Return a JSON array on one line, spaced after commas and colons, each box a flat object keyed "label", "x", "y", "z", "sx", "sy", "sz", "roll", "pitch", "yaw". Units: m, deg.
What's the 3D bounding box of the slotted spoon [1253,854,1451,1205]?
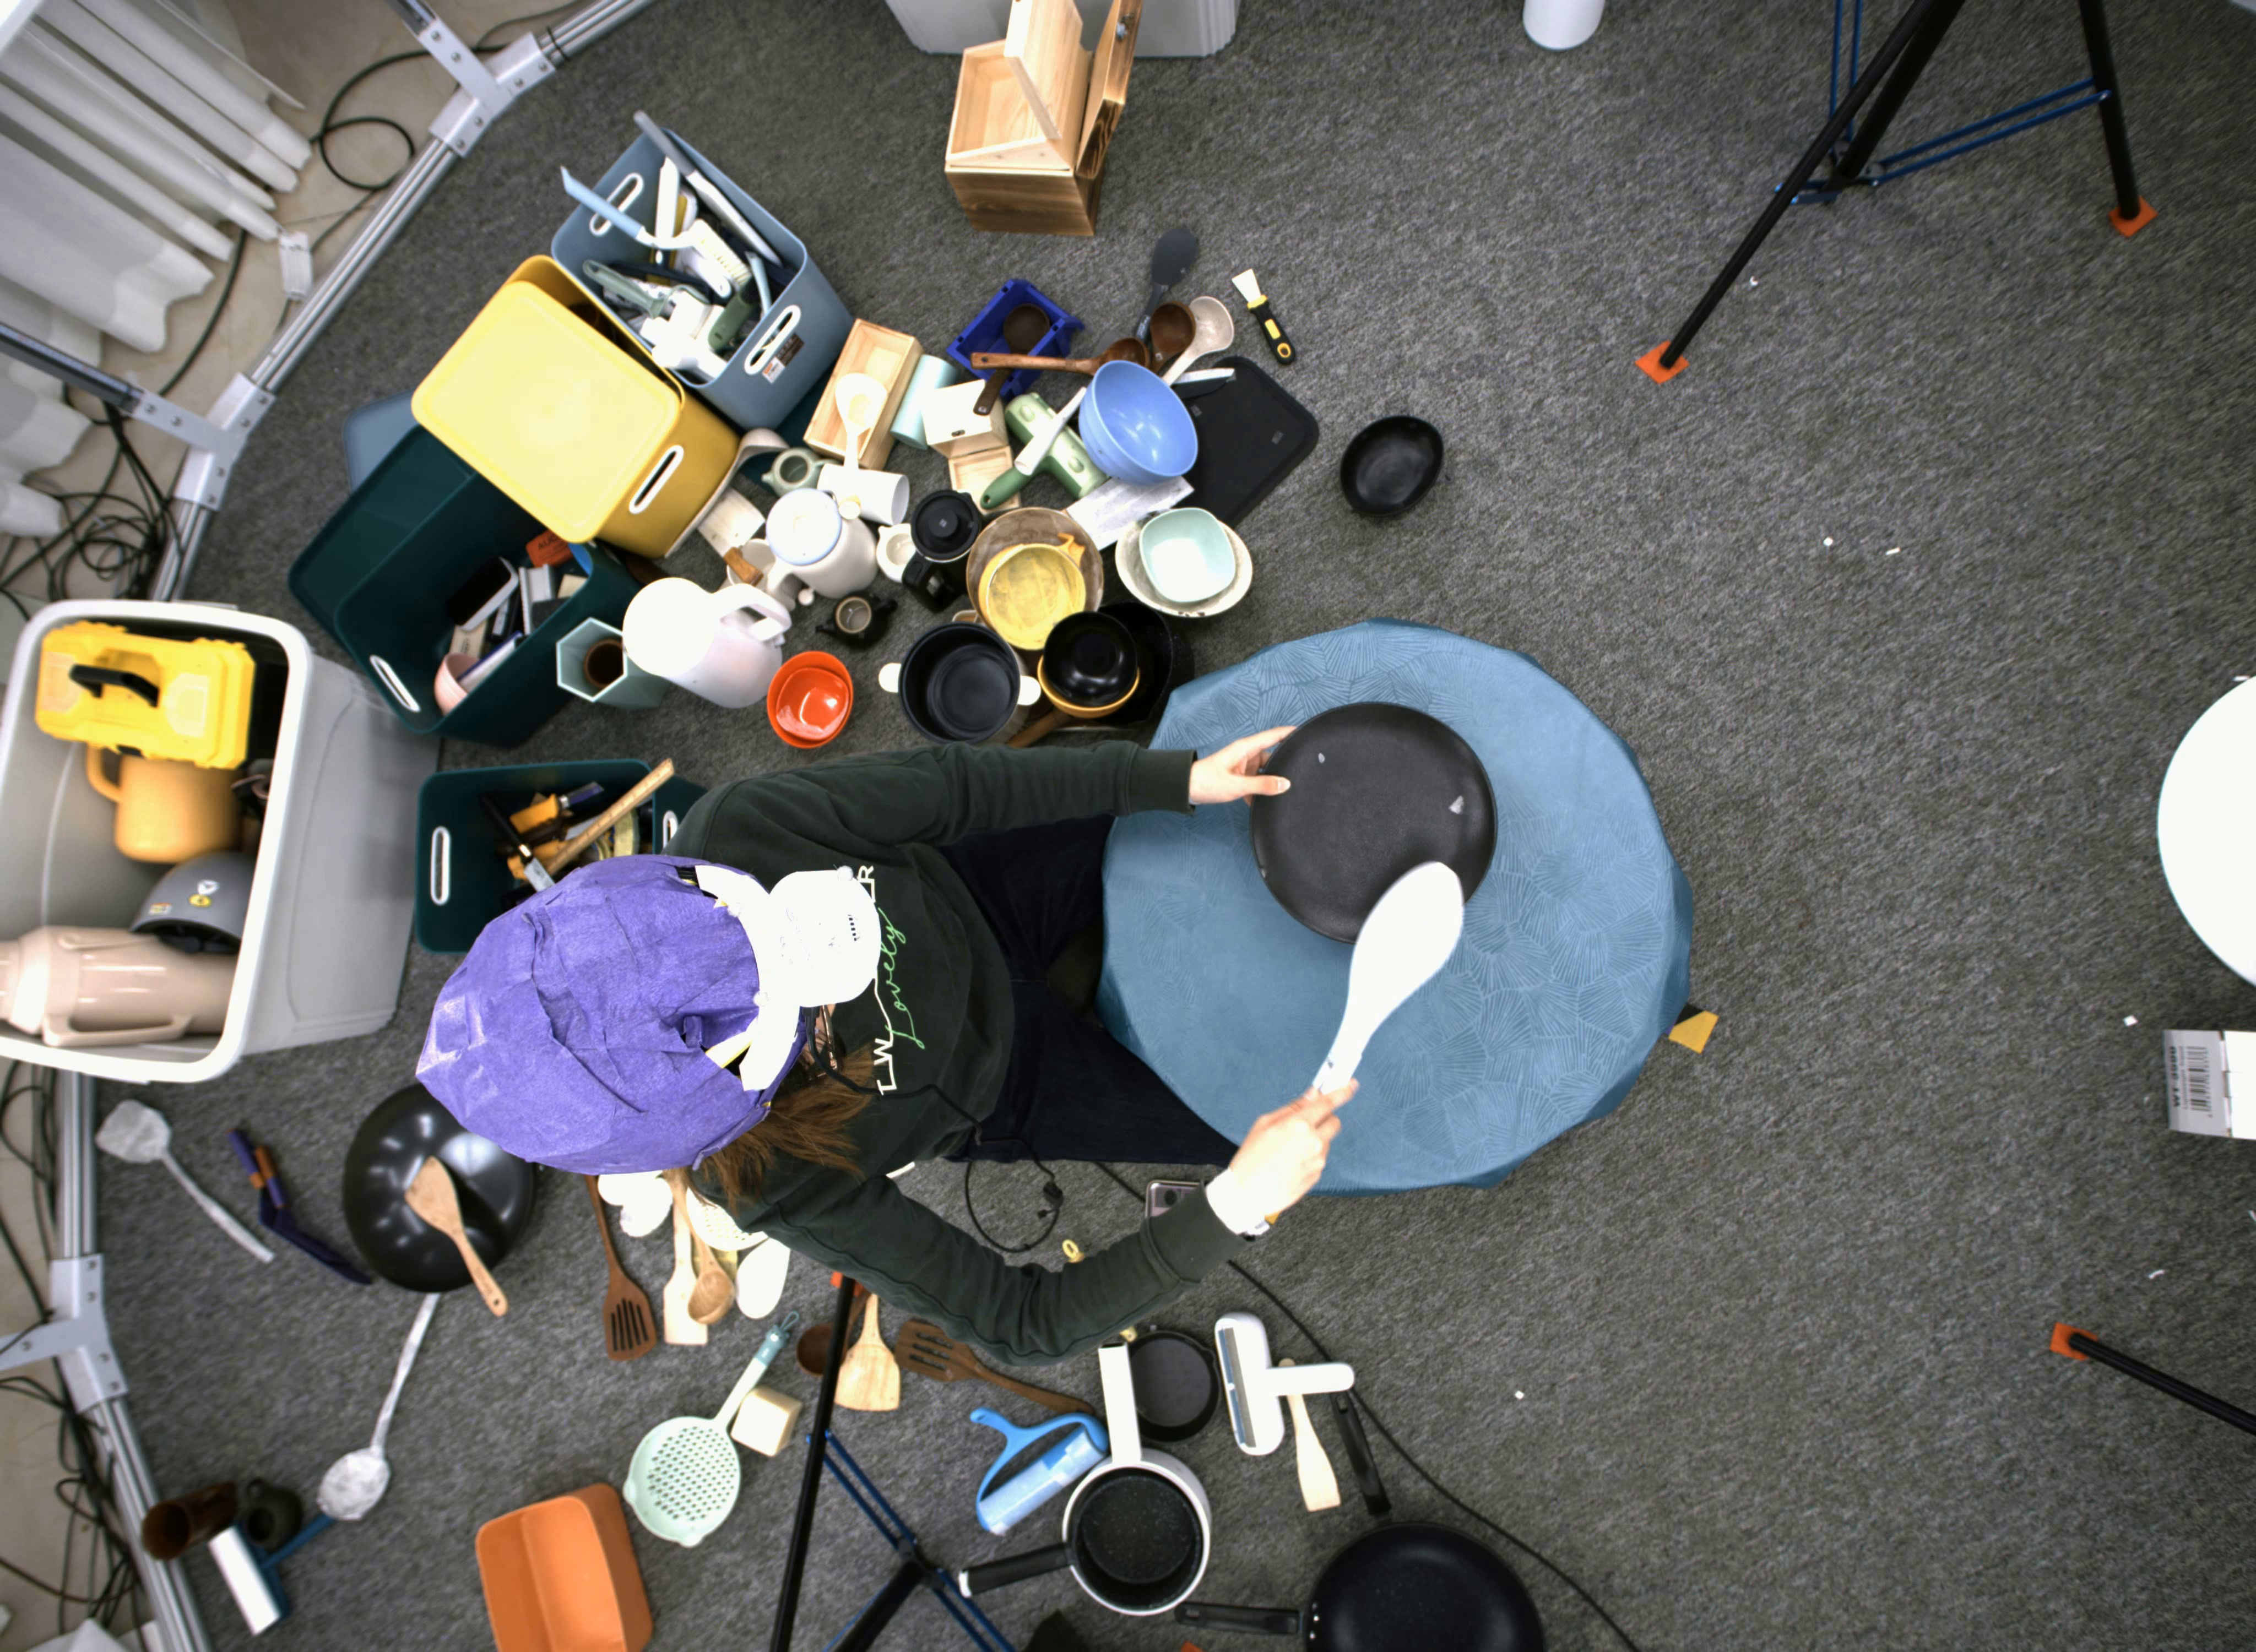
[{"label": "slotted spoon", "x": 0.201, "y": 0.179, "z": 1.245, "sx": 0.046, "sy": 0.137, "sz": 0.346, "roll": 36, "pitch": 78, "yaw": -12}]

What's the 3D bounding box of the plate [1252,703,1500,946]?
[{"label": "plate", "x": 0.245, "y": -0.002, "z": 1.375, "sx": 0.245, "sy": 0.023, "sz": 0.246, "roll": 1, "pitch": 98, "yaw": 8}]
